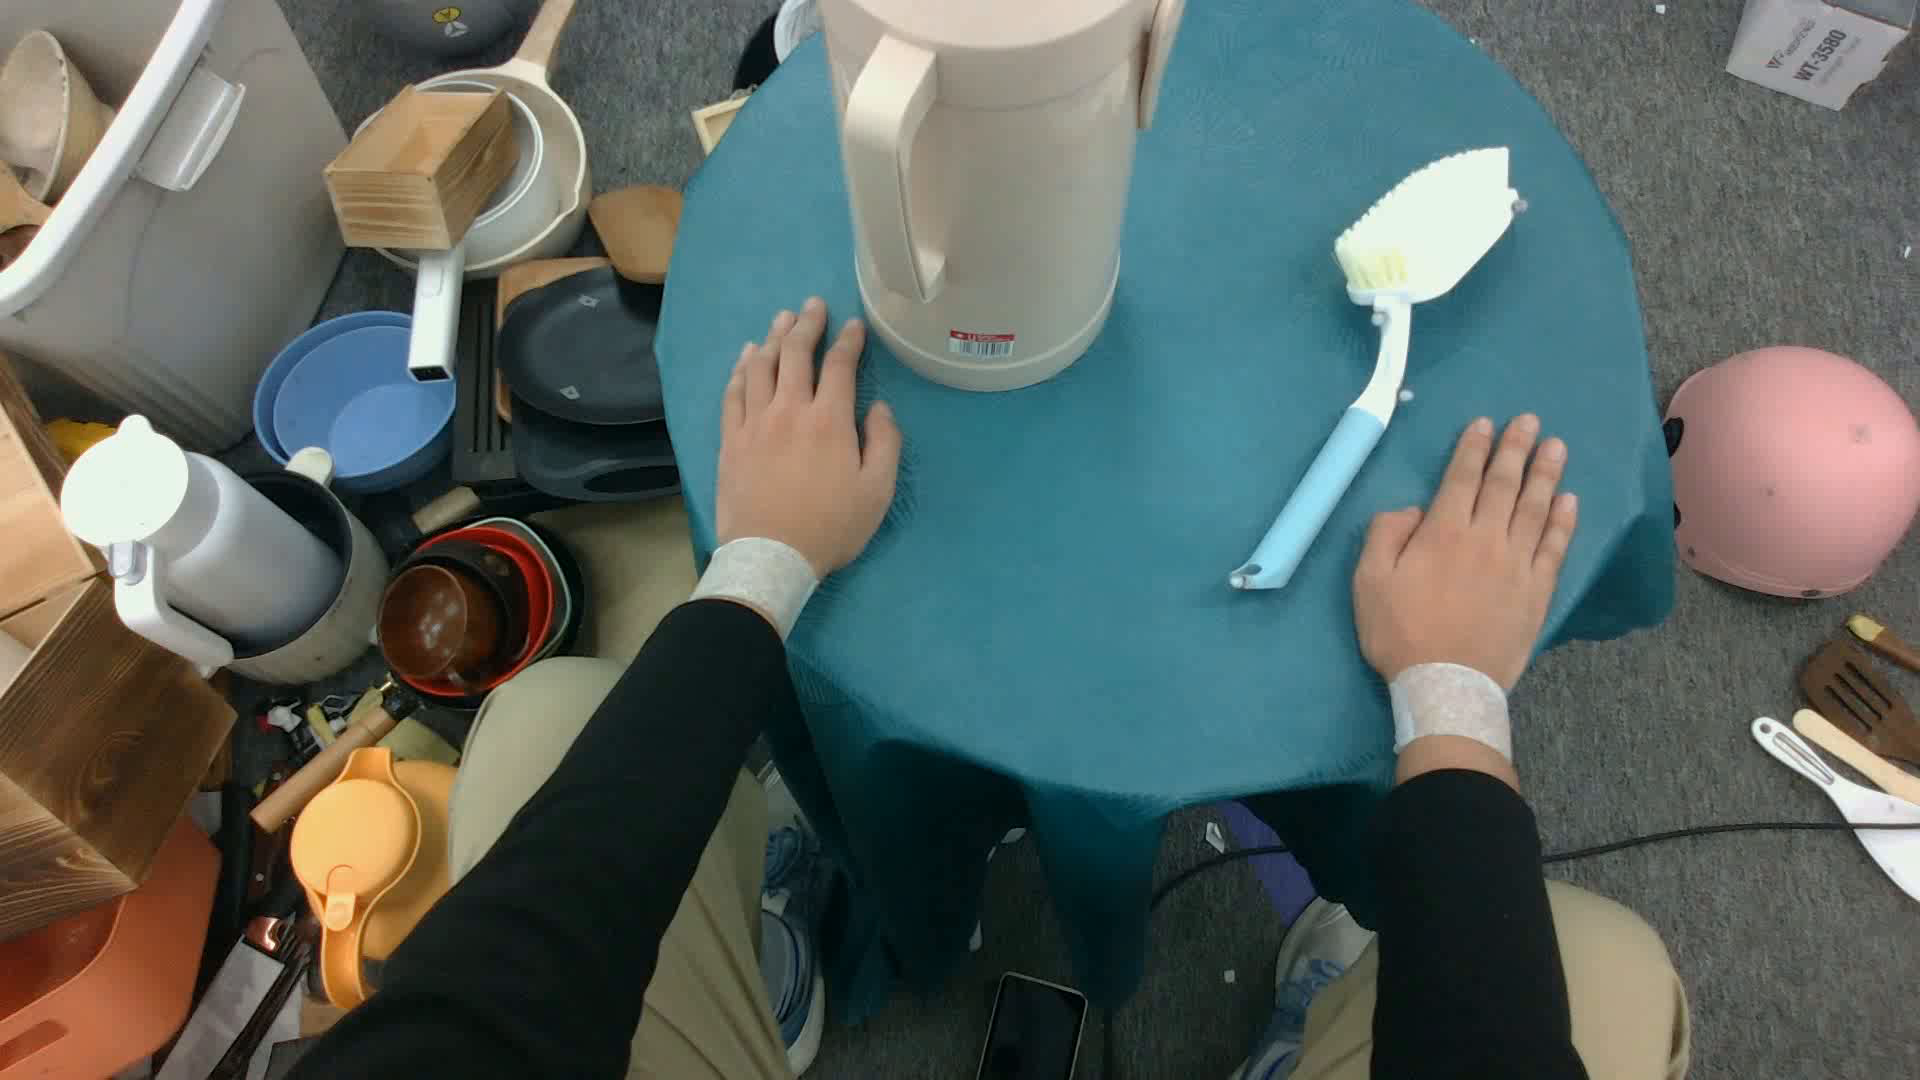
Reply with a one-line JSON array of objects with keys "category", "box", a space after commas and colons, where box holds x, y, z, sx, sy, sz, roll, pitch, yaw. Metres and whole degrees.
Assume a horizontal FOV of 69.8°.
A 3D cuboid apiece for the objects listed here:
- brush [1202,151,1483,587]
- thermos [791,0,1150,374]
[{"category": "brush", "box": [0.213, -0.117, 0.790, 0.084, 0.083, 0.326, 34, 71, 6]}, {"category": "thermos", "box": [-0.008, -0.228, 0.662, 0.175, 0.405, 0.208, 23, 71, 6]}]
